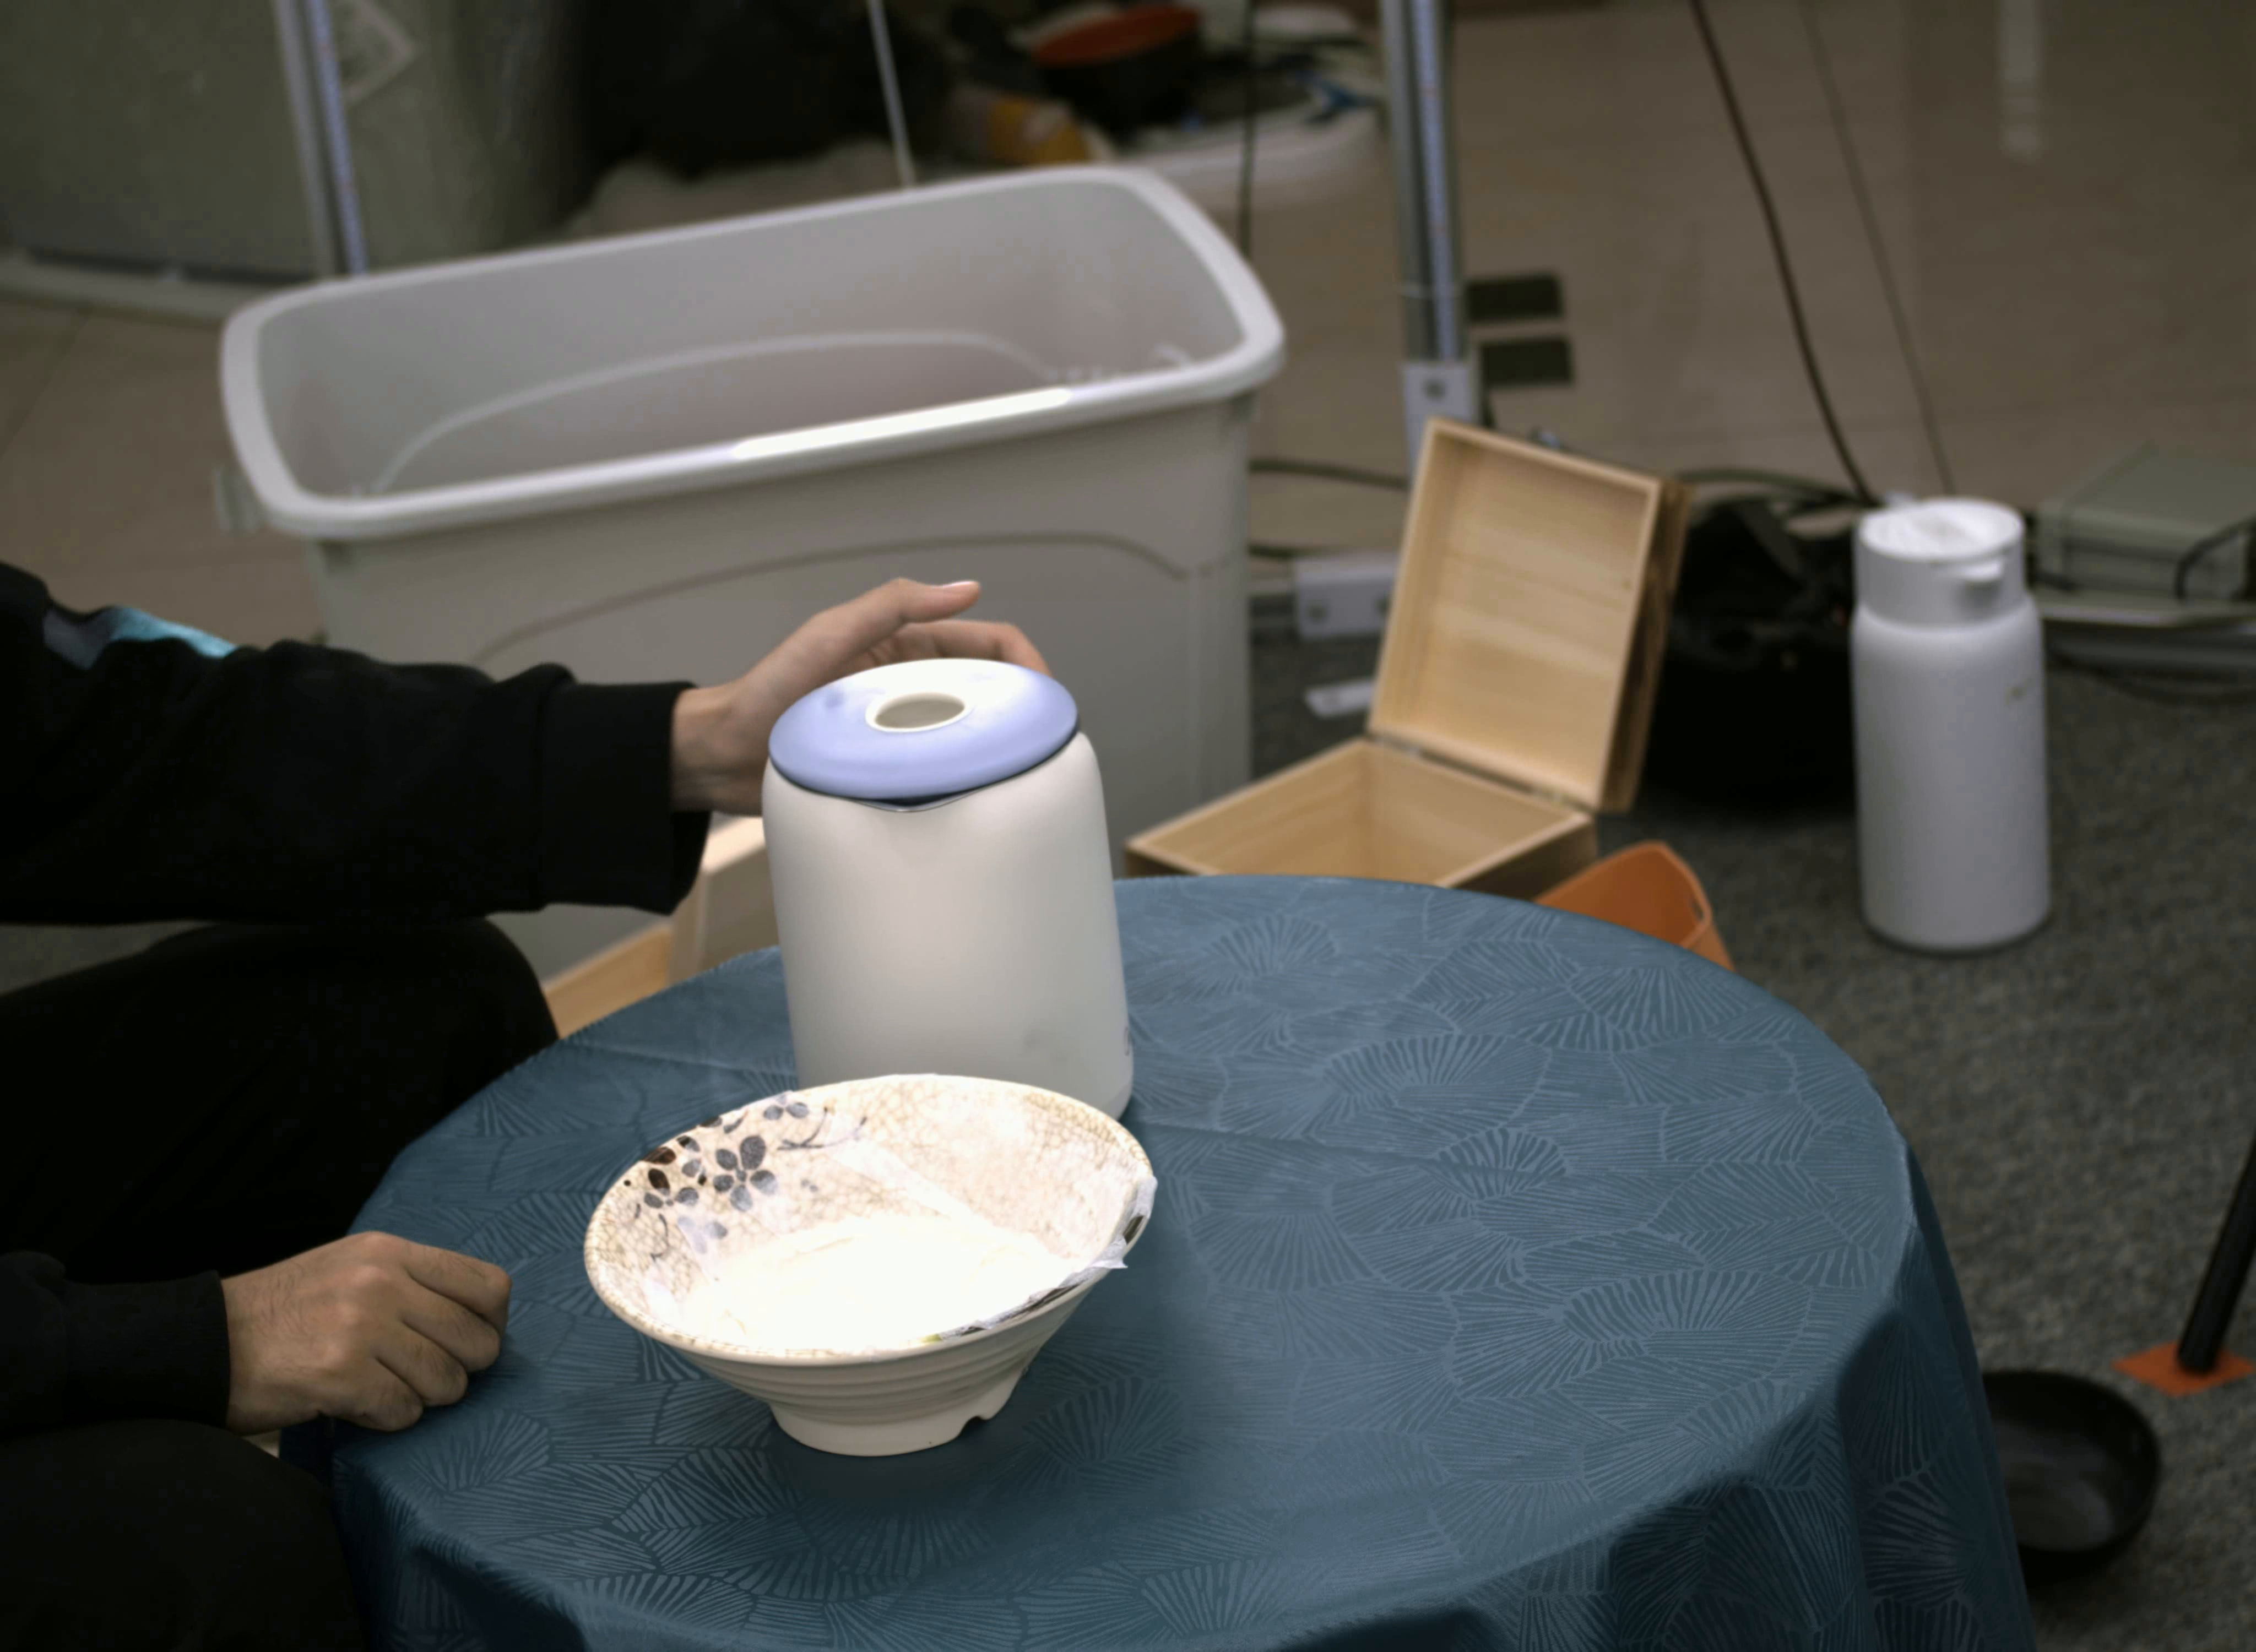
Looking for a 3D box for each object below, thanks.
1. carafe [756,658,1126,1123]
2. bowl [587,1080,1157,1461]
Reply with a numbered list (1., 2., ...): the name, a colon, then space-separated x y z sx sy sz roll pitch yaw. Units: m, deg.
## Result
1. carafe: -0.072 0.027 2.197 0.132 0.185 0.188 -4 23 1
2. bowl: -0.085 0.169 2.011 0.204 0.079 0.201 -8 24 4
